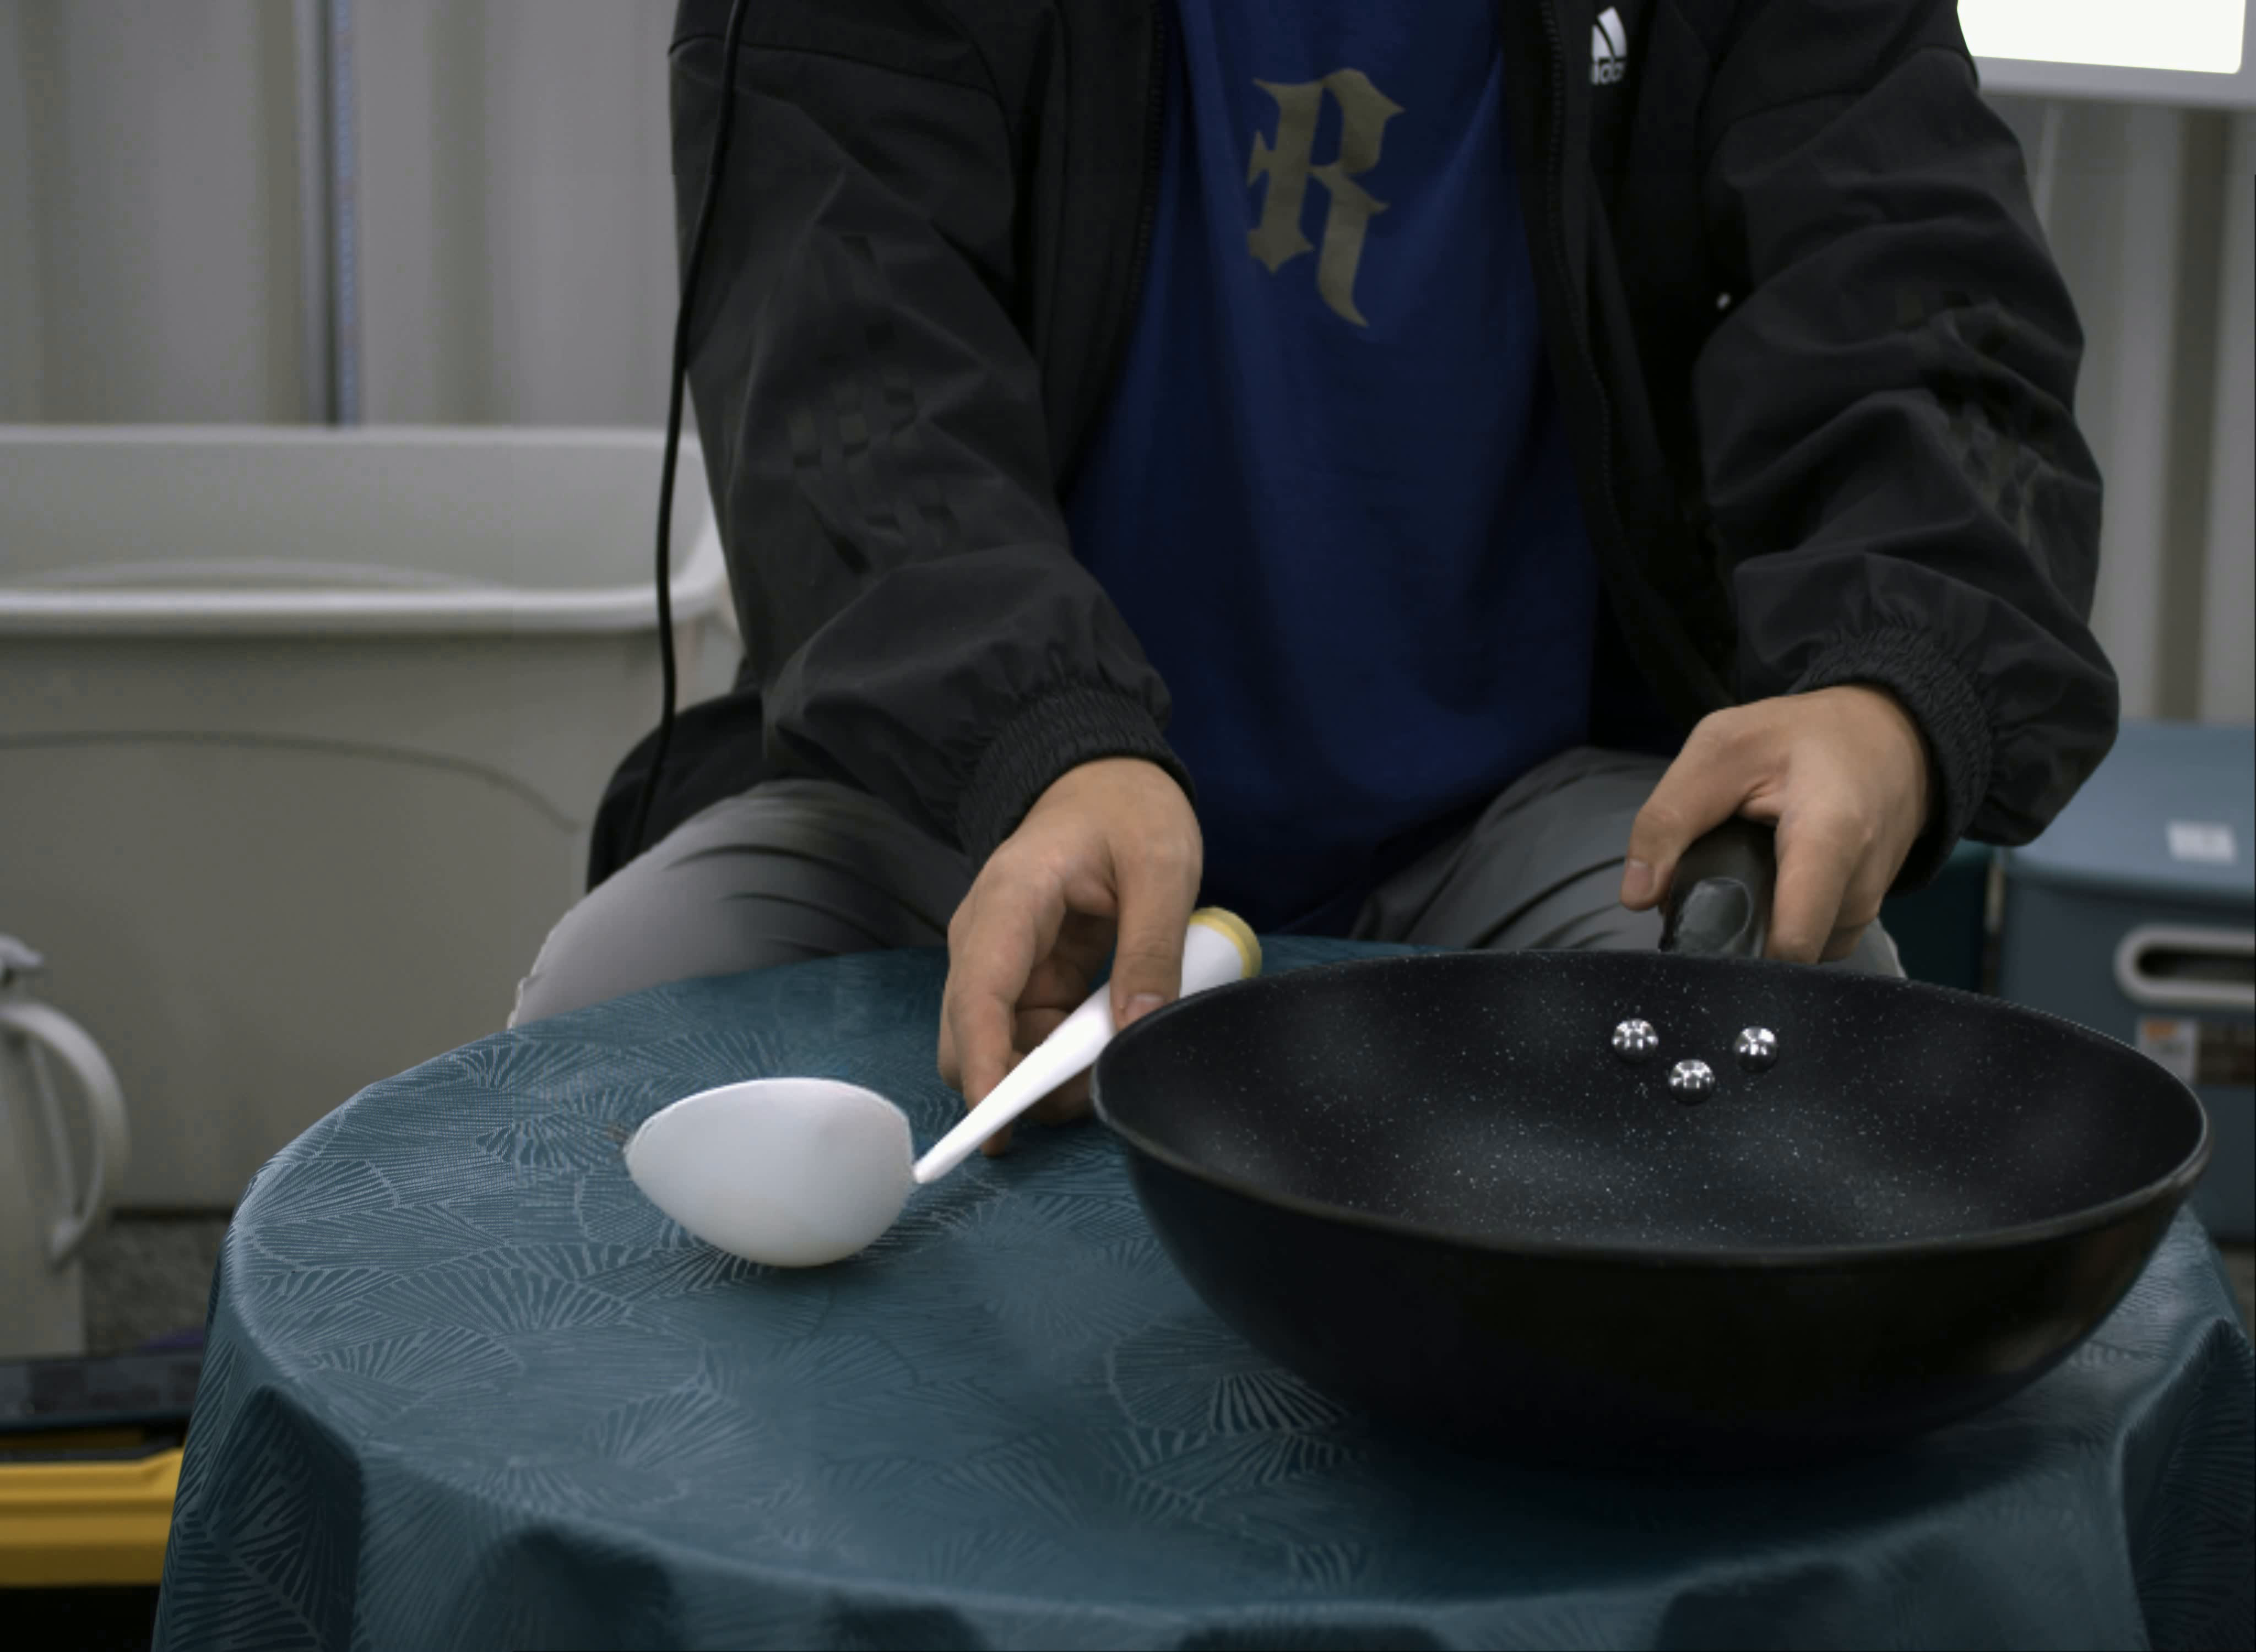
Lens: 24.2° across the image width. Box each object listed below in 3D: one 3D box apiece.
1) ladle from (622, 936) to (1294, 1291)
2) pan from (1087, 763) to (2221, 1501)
[{"bbox_3d":[-0.043,0.076,1.640,0.090,0.070,0.294,-38,-6,35],"label":"ladle"},{"bbox_3d":[0.158,0.086,1.528,0.308,0.112,0.476,6,14,10],"label":"pan"}]
